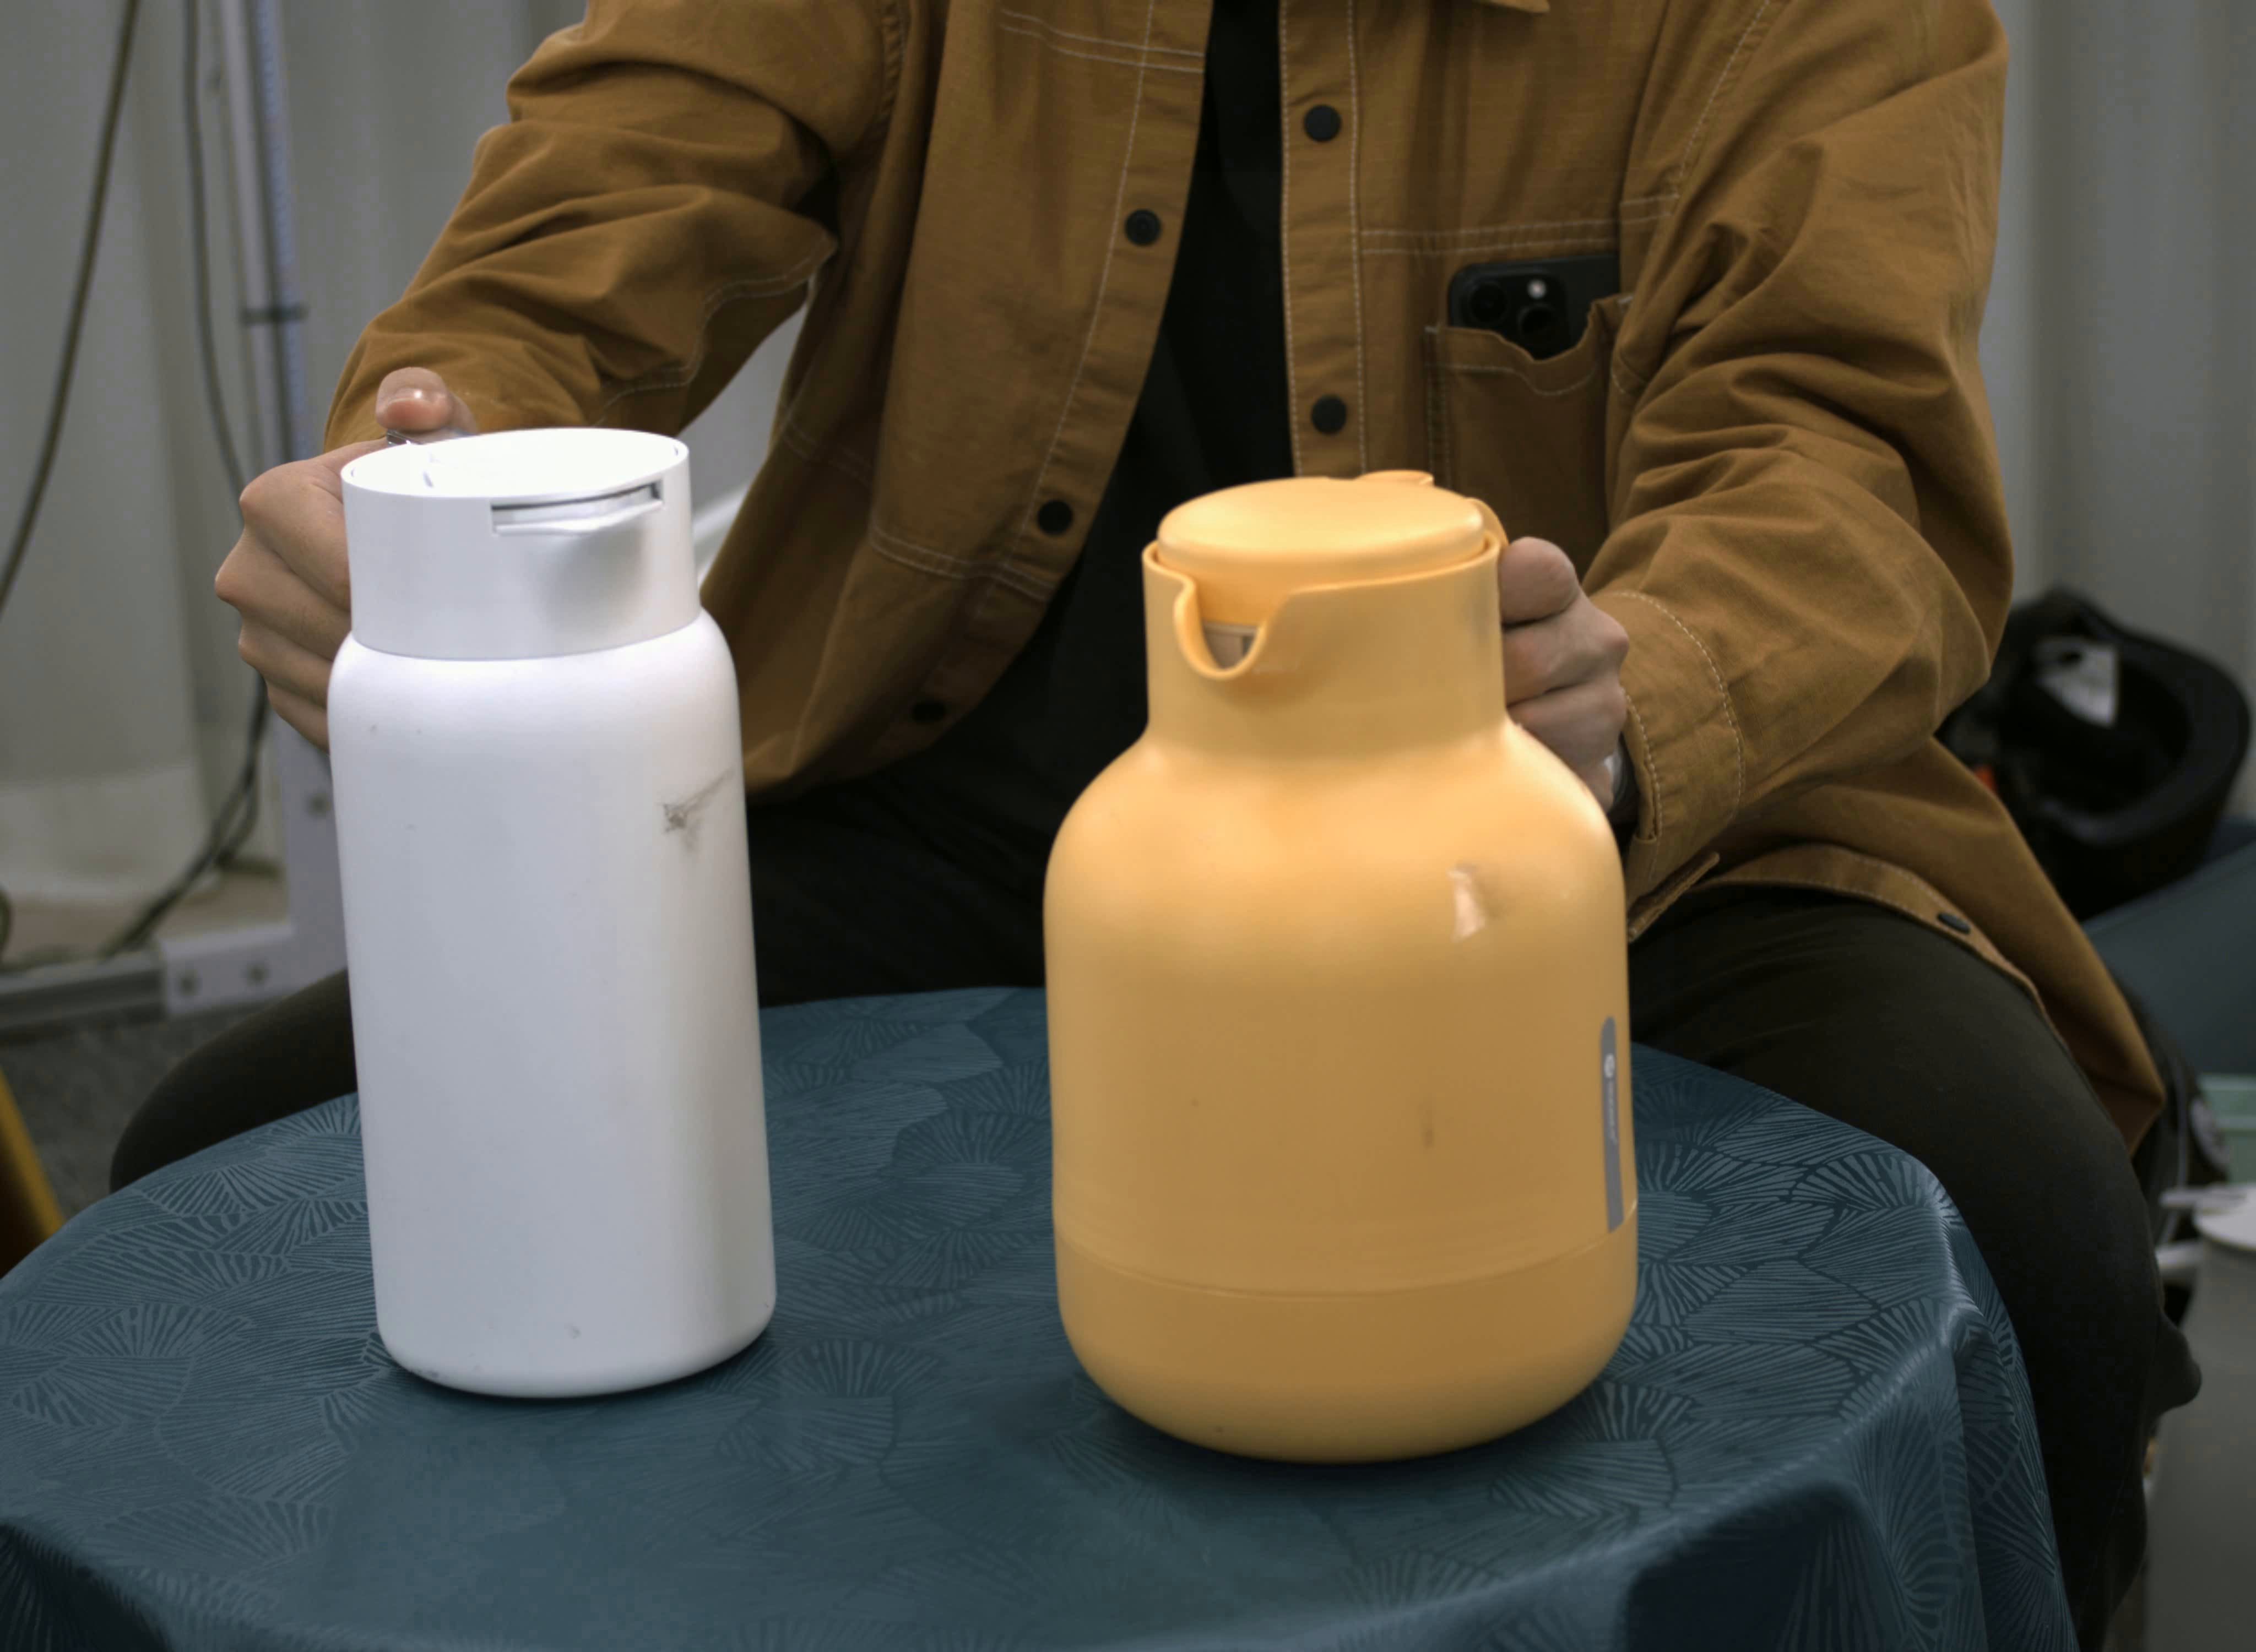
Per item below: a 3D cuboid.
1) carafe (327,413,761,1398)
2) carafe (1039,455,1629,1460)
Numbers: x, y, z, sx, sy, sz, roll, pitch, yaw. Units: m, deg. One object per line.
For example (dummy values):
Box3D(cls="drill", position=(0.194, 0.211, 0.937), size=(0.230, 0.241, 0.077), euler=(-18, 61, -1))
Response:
Box3D(cls="carafe", position=(-0.179, 0.019, 1.590), size=(0.123, 0.268, 0.174), euler=(-12, 17, -30))
Box3D(cls="carafe", position=(0.066, 0.028, 1.519), size=(0.164, 0.259, 0.203), euler=(7, 18, 26))
